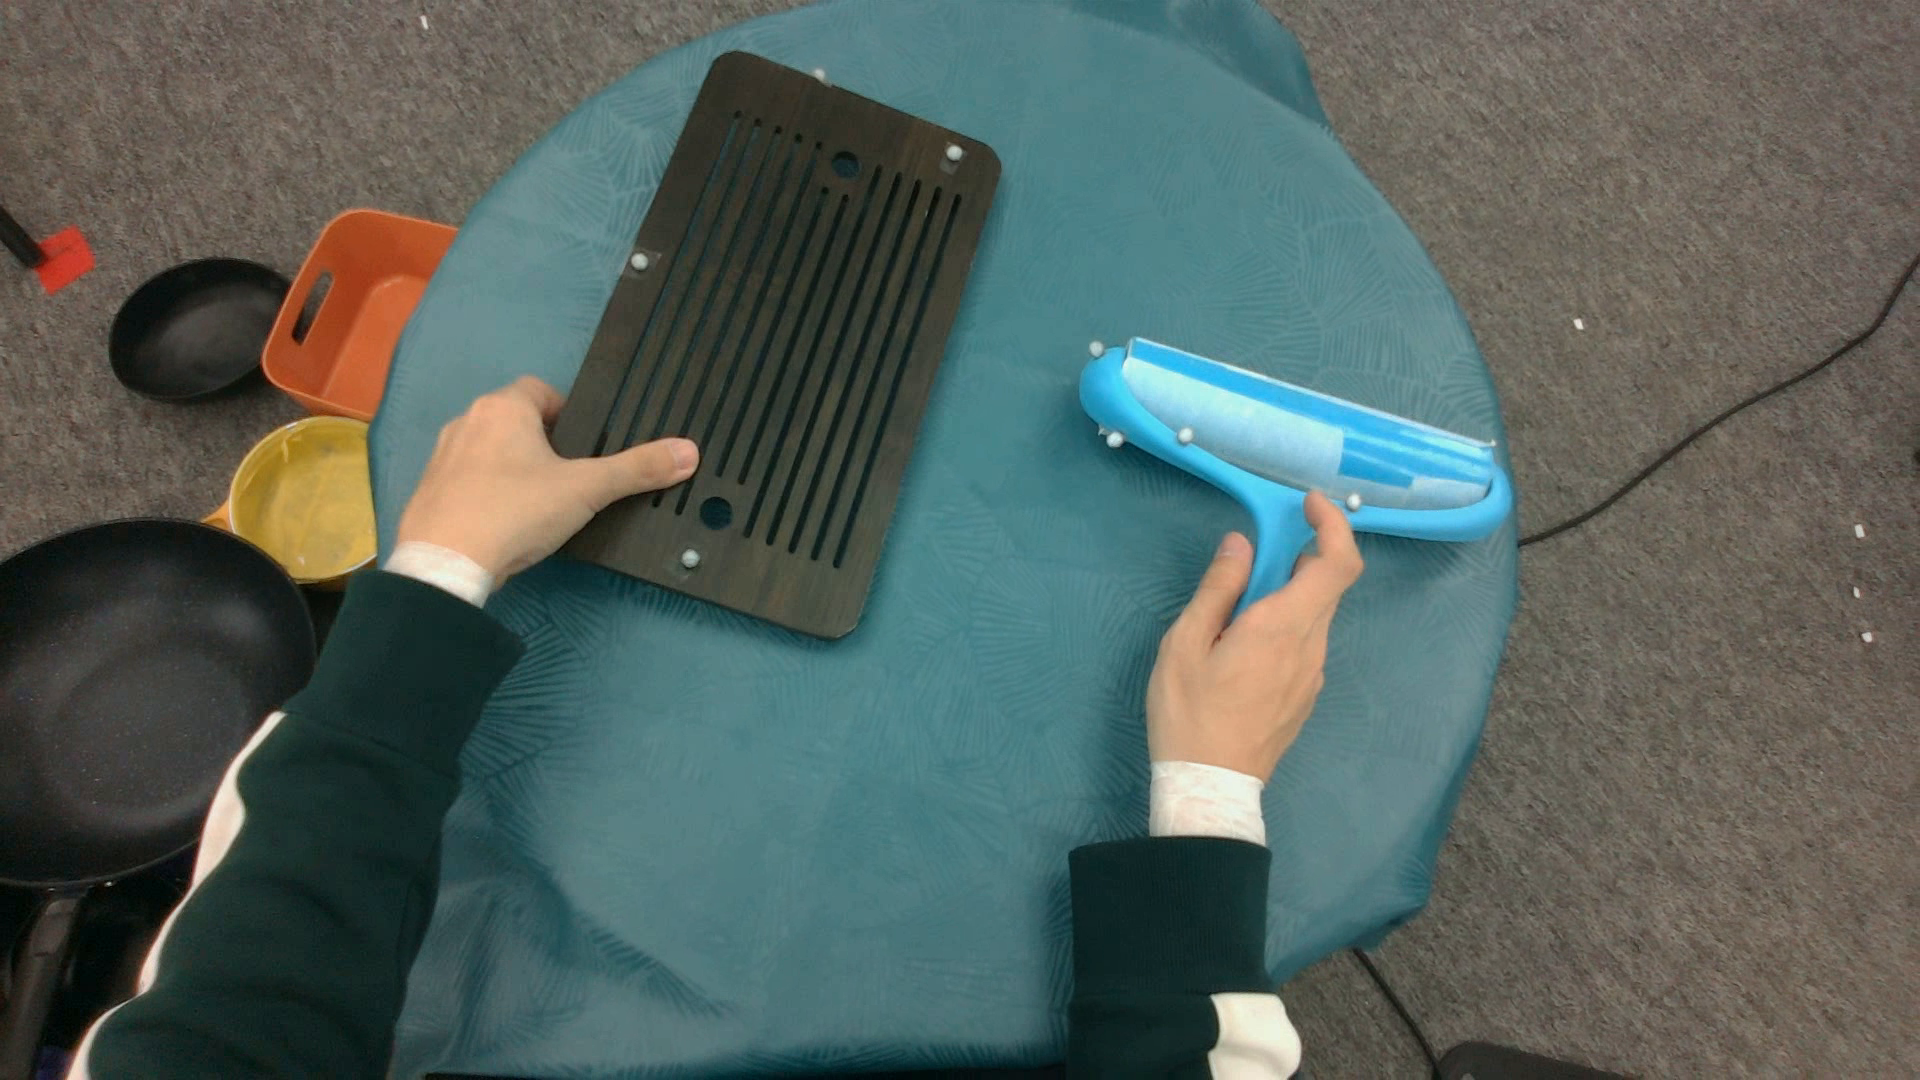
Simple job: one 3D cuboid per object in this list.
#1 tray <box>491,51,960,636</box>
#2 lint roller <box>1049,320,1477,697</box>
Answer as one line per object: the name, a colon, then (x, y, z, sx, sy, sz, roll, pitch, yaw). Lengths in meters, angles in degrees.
tray: (-0.112, -0.110, 0.719, 0.170, 0.018, 0.307, 17, 68, -7)
lint roller: (0.147, -0.013, 0.695, 0.229, 0.067, 0.181, 14, 65, -3)
